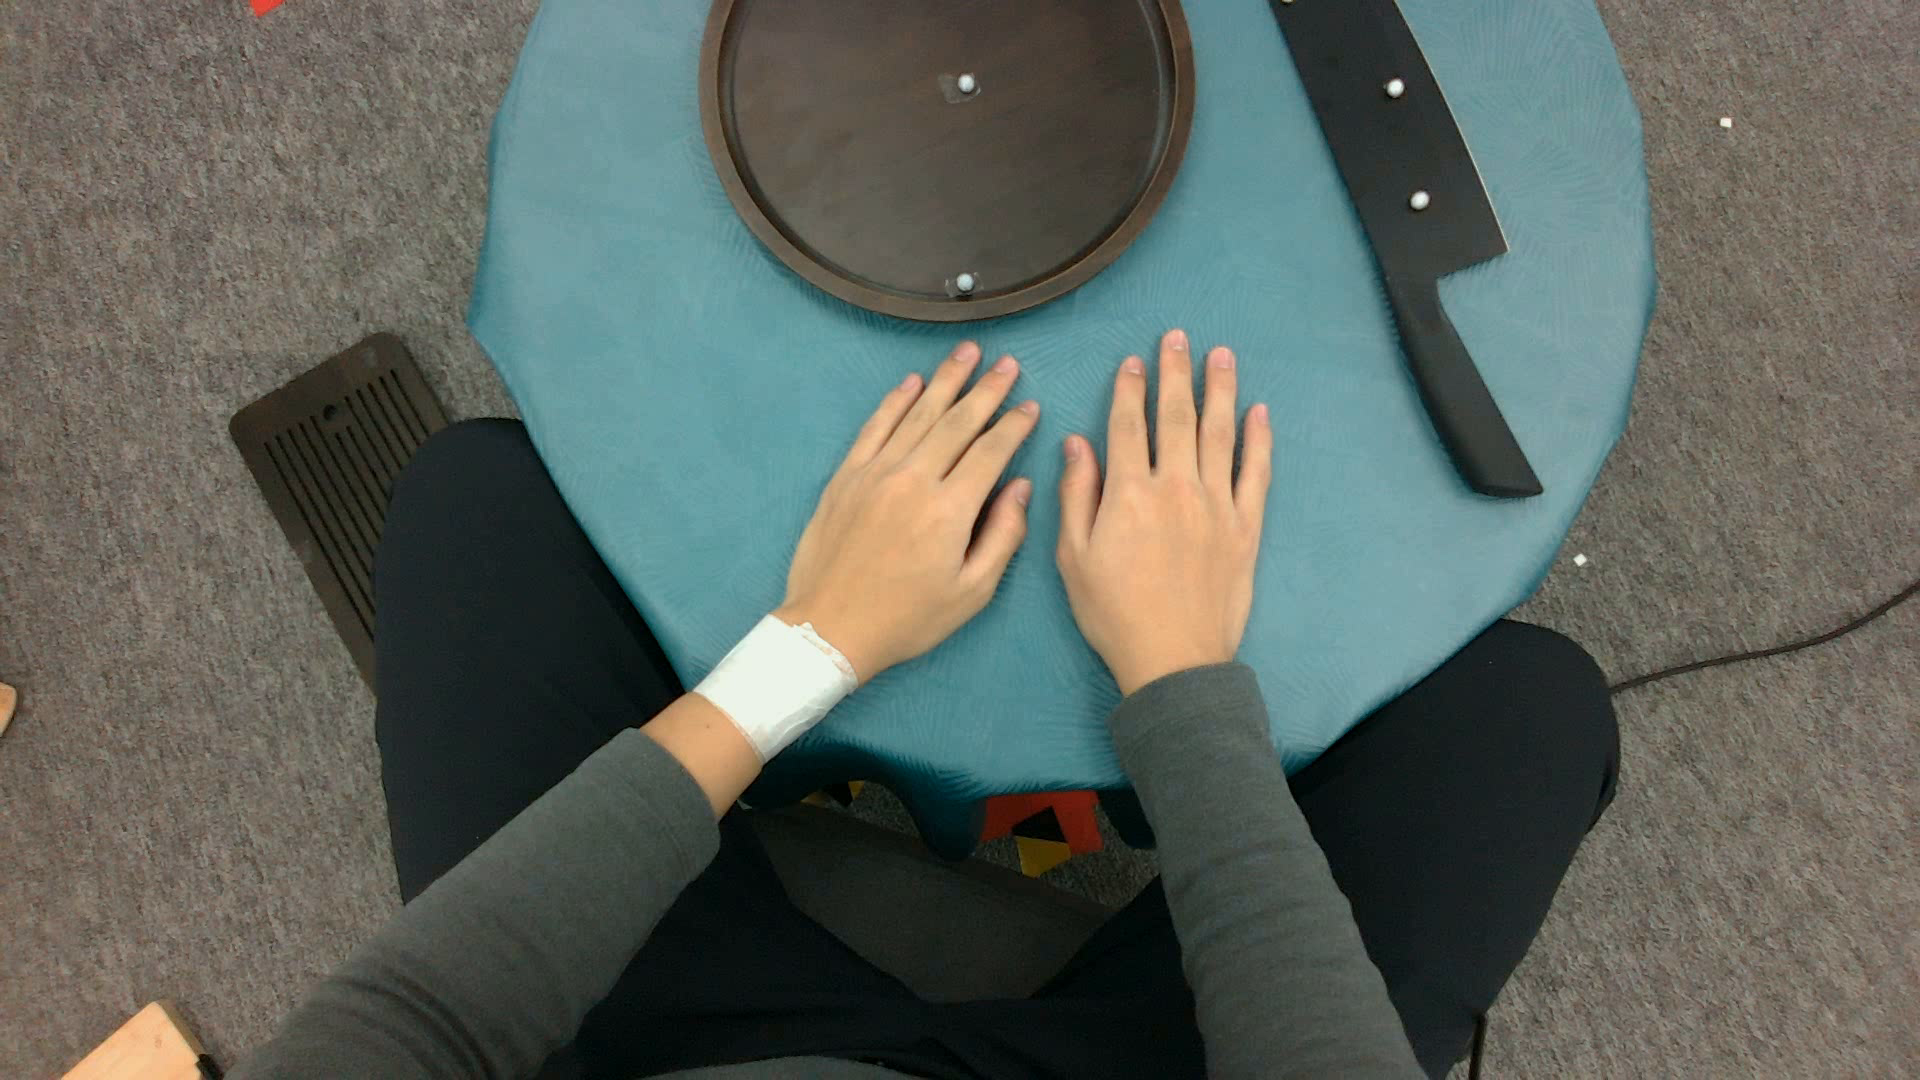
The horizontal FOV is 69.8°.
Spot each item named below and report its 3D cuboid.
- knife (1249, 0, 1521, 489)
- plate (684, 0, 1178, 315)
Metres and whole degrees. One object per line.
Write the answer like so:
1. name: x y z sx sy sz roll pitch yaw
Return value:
1. knife: 0.225 -0.168 0.709 0.081 0.021 0.302 -15 80 -5
2. plate: -0.015 -0.236 0.710 0.255 0.029 0.255 0 80 -1
